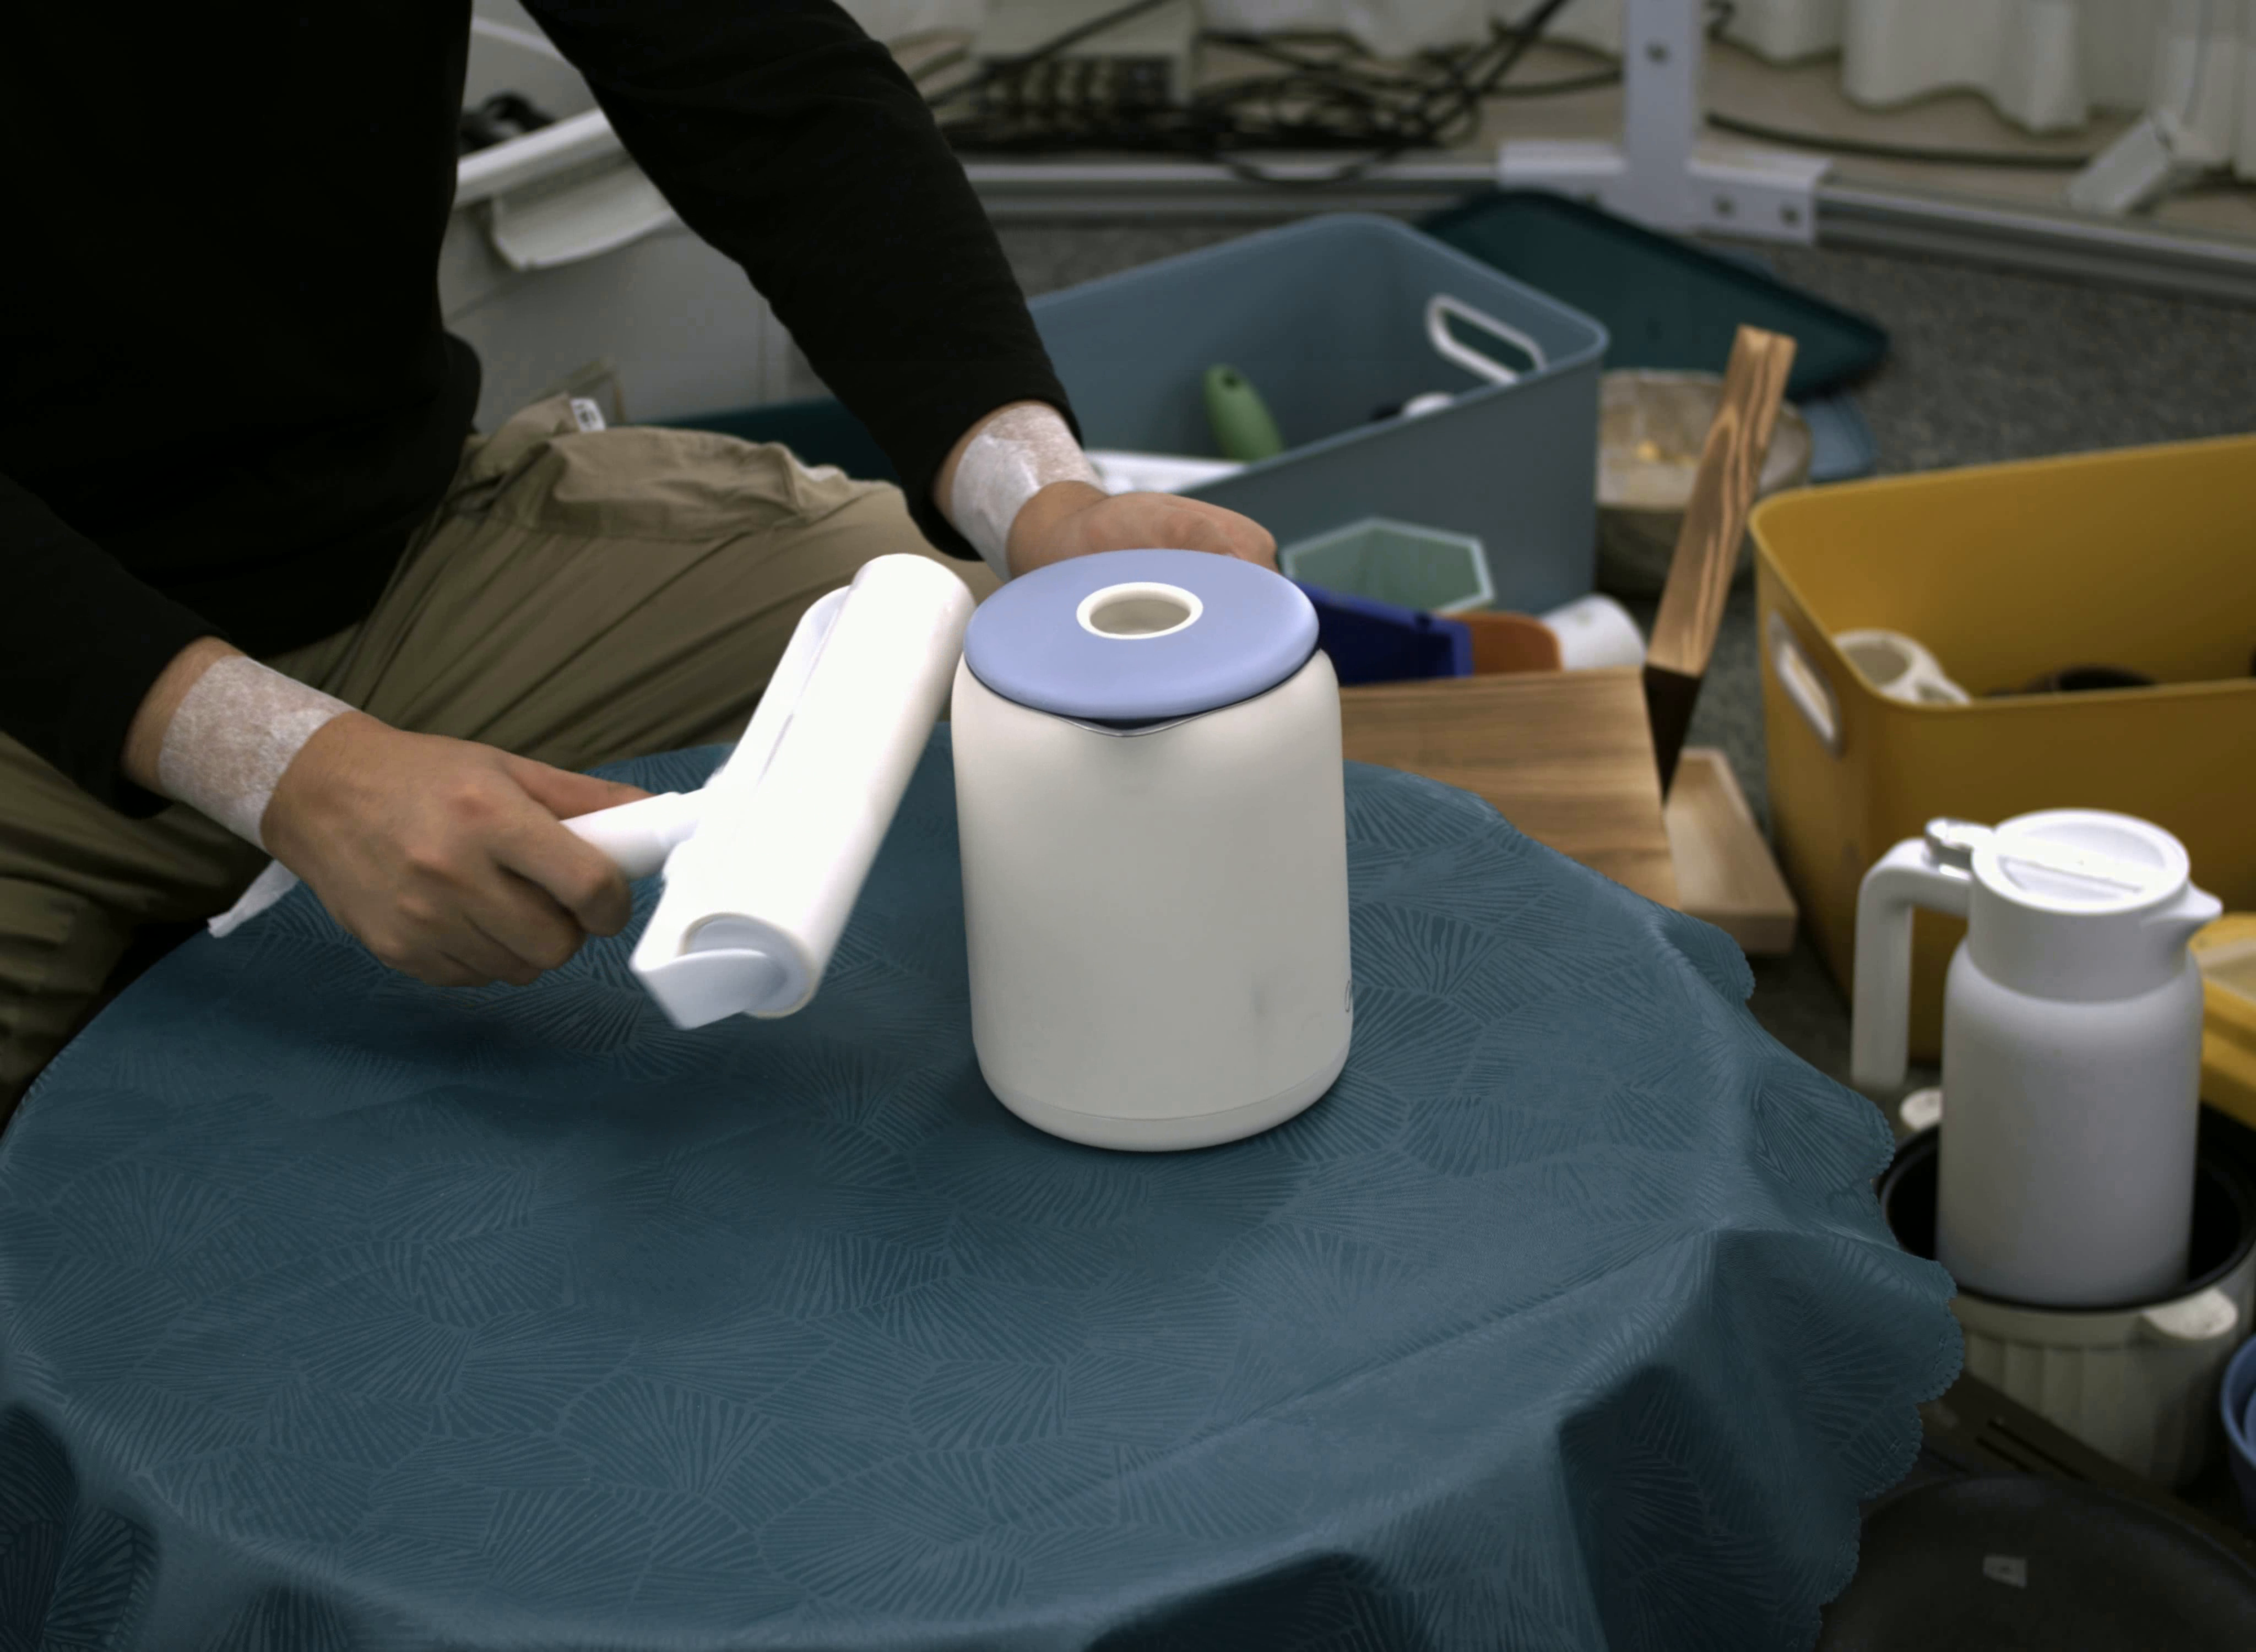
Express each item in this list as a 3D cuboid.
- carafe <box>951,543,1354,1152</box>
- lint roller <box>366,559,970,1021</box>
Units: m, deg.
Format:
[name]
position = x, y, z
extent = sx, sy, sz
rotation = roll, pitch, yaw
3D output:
[carafe]
position = 0.010, -0.005, 1.919
extent = 0.131, 0.181, 0.194
rotation = -1, 25, 4
[lint roller]
position = -0.173, 0.003, 1.929
extent = 0.223, 0.048, 0.207
rotation = -14, 34, 26
